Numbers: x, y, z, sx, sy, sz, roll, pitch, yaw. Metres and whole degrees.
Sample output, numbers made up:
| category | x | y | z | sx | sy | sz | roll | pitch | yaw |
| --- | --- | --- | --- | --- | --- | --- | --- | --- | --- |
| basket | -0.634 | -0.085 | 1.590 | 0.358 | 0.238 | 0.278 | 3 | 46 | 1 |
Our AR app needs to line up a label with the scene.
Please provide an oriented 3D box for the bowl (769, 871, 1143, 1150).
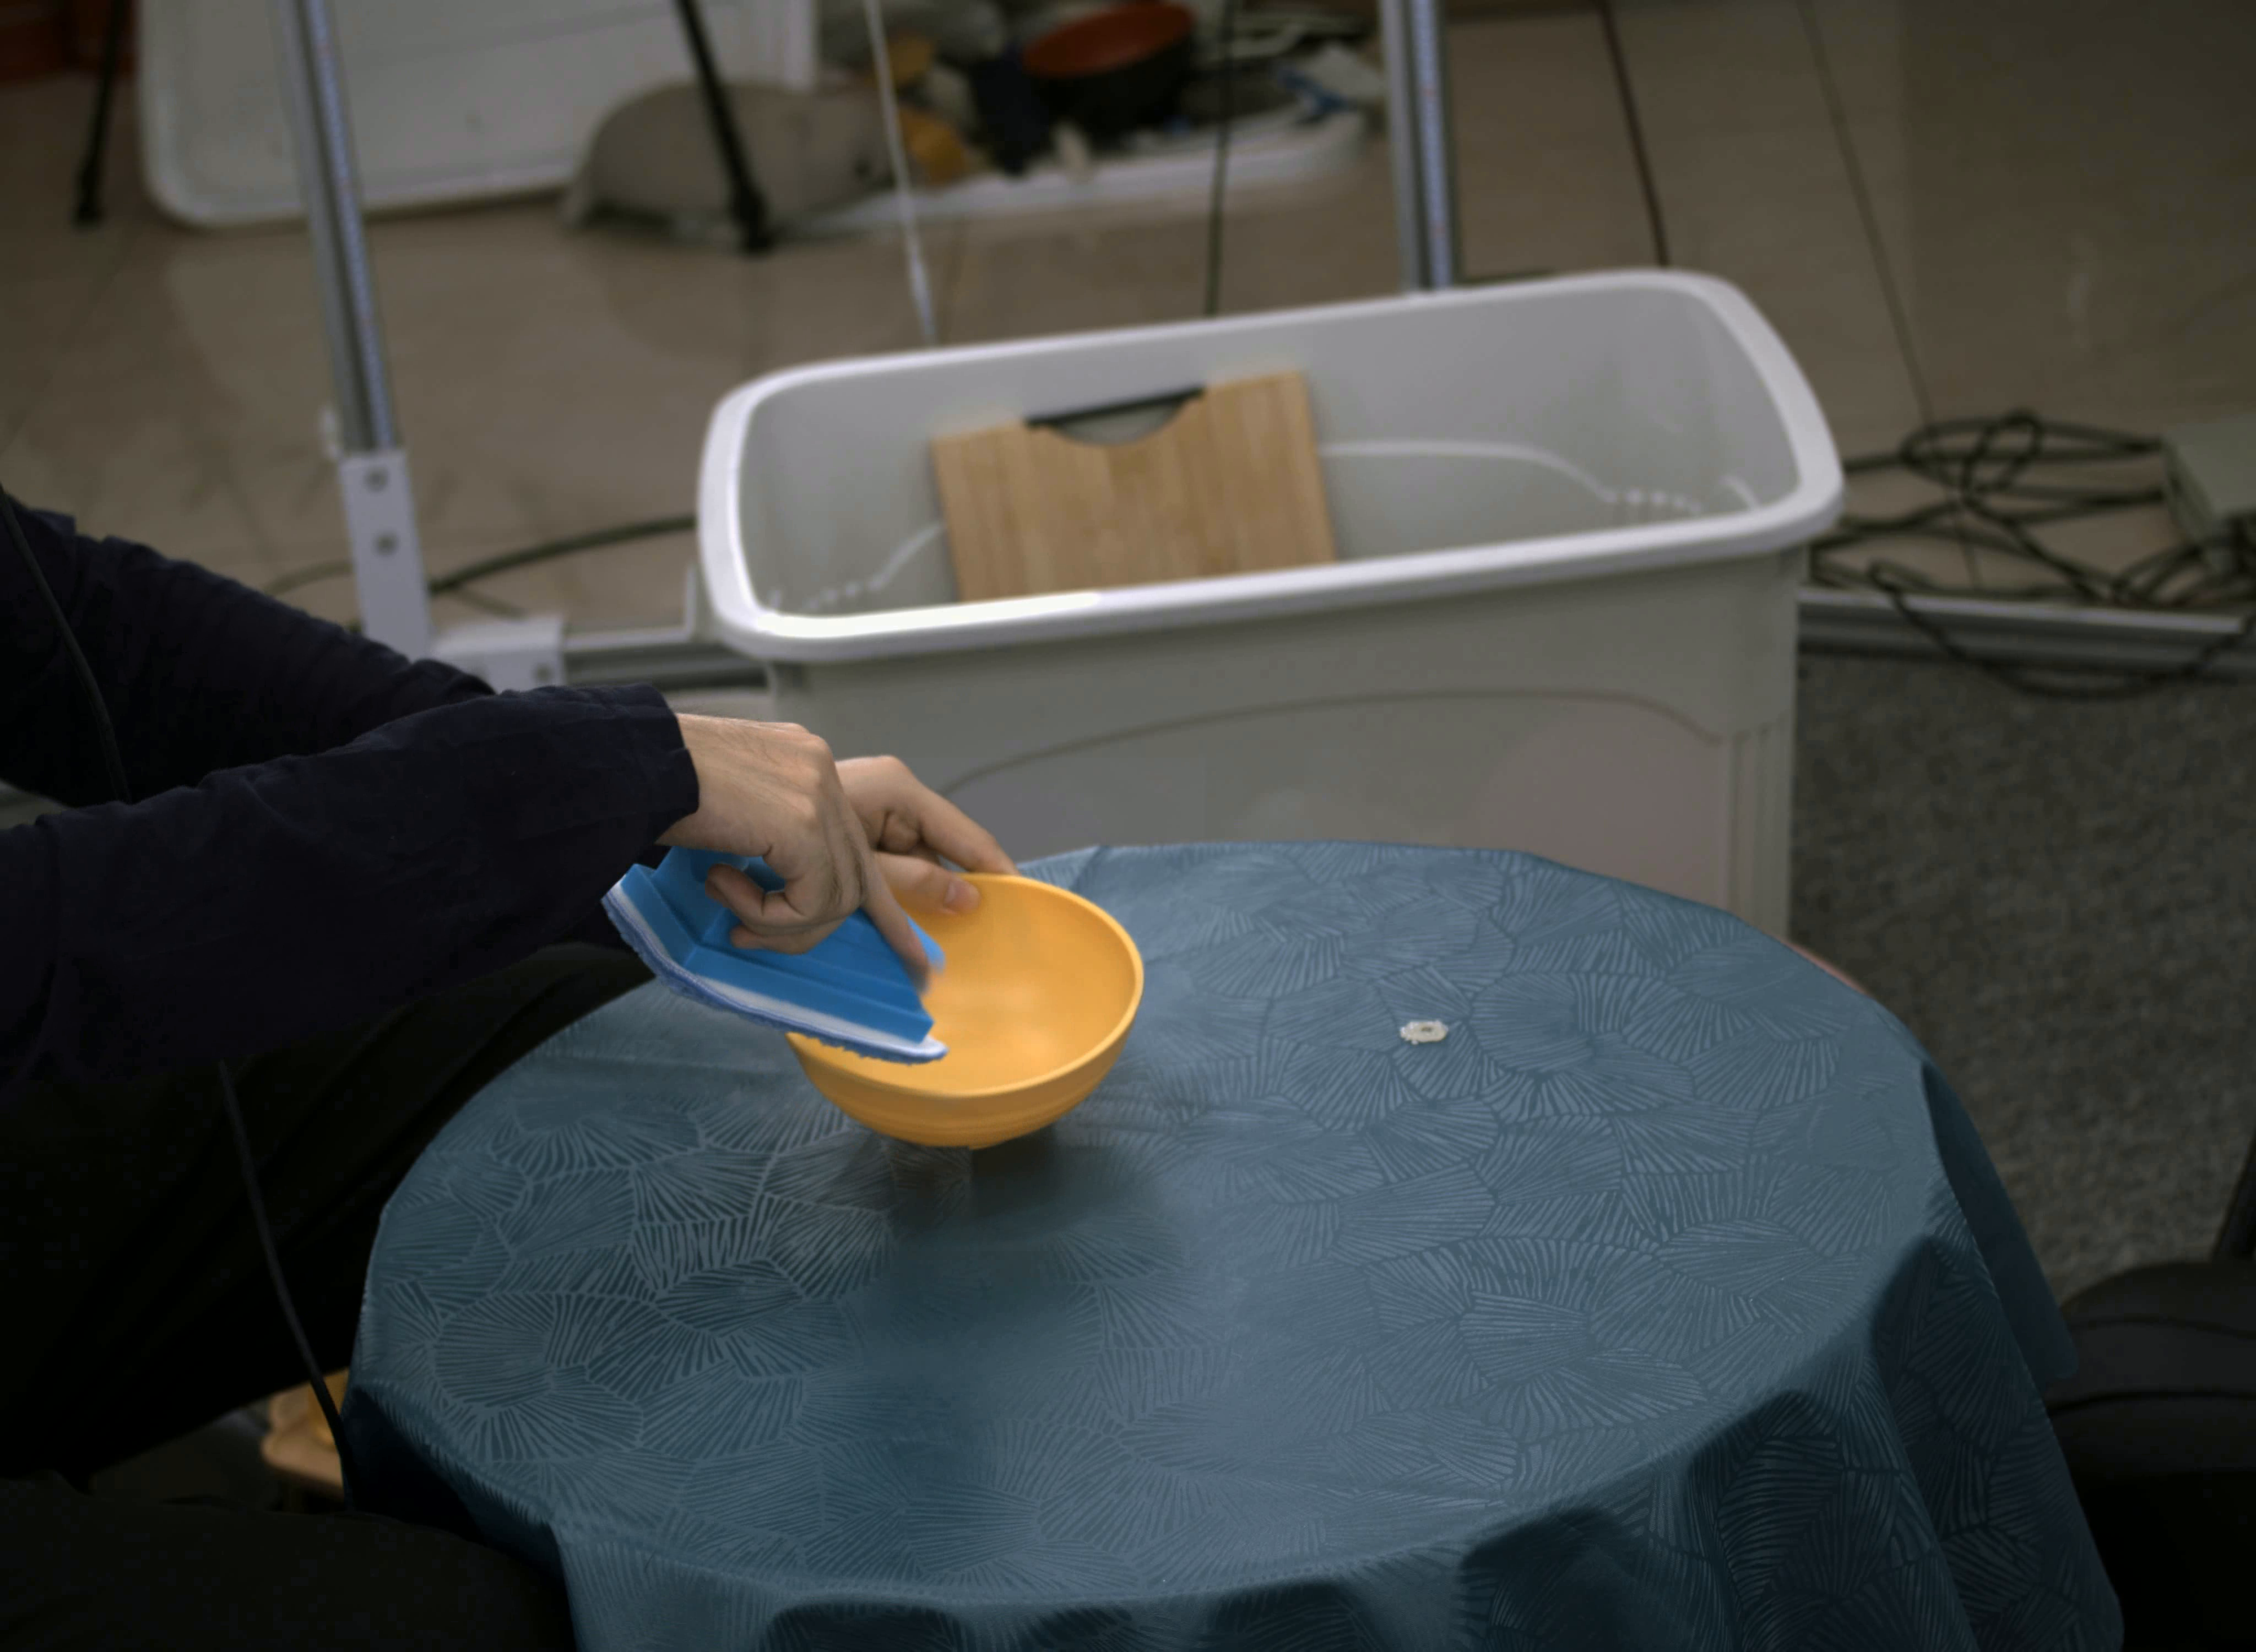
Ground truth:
| category | x | y | z | sx | sy | sz | roll | pitch | yaw |
| --- | --- | --- | --- | --- | --- | --- | --- | --- | --- |
| bowl | -0.067 | 0.083 | 2.200 | 0.145 | 0.061 | 0.143 | 0 | 36 | 0 |

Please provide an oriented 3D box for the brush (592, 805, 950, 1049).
| category | x | y | z | sx | sy | sz | roll | pitch | yaw |
| --- | --- | --- | --- | --- | --- | --- | --- | --- | --- |
| brush | -0.125 | 0.035 | 2.076 | 0.145 | 0.056 | 0.082 | 24 | 13 | -42 |
